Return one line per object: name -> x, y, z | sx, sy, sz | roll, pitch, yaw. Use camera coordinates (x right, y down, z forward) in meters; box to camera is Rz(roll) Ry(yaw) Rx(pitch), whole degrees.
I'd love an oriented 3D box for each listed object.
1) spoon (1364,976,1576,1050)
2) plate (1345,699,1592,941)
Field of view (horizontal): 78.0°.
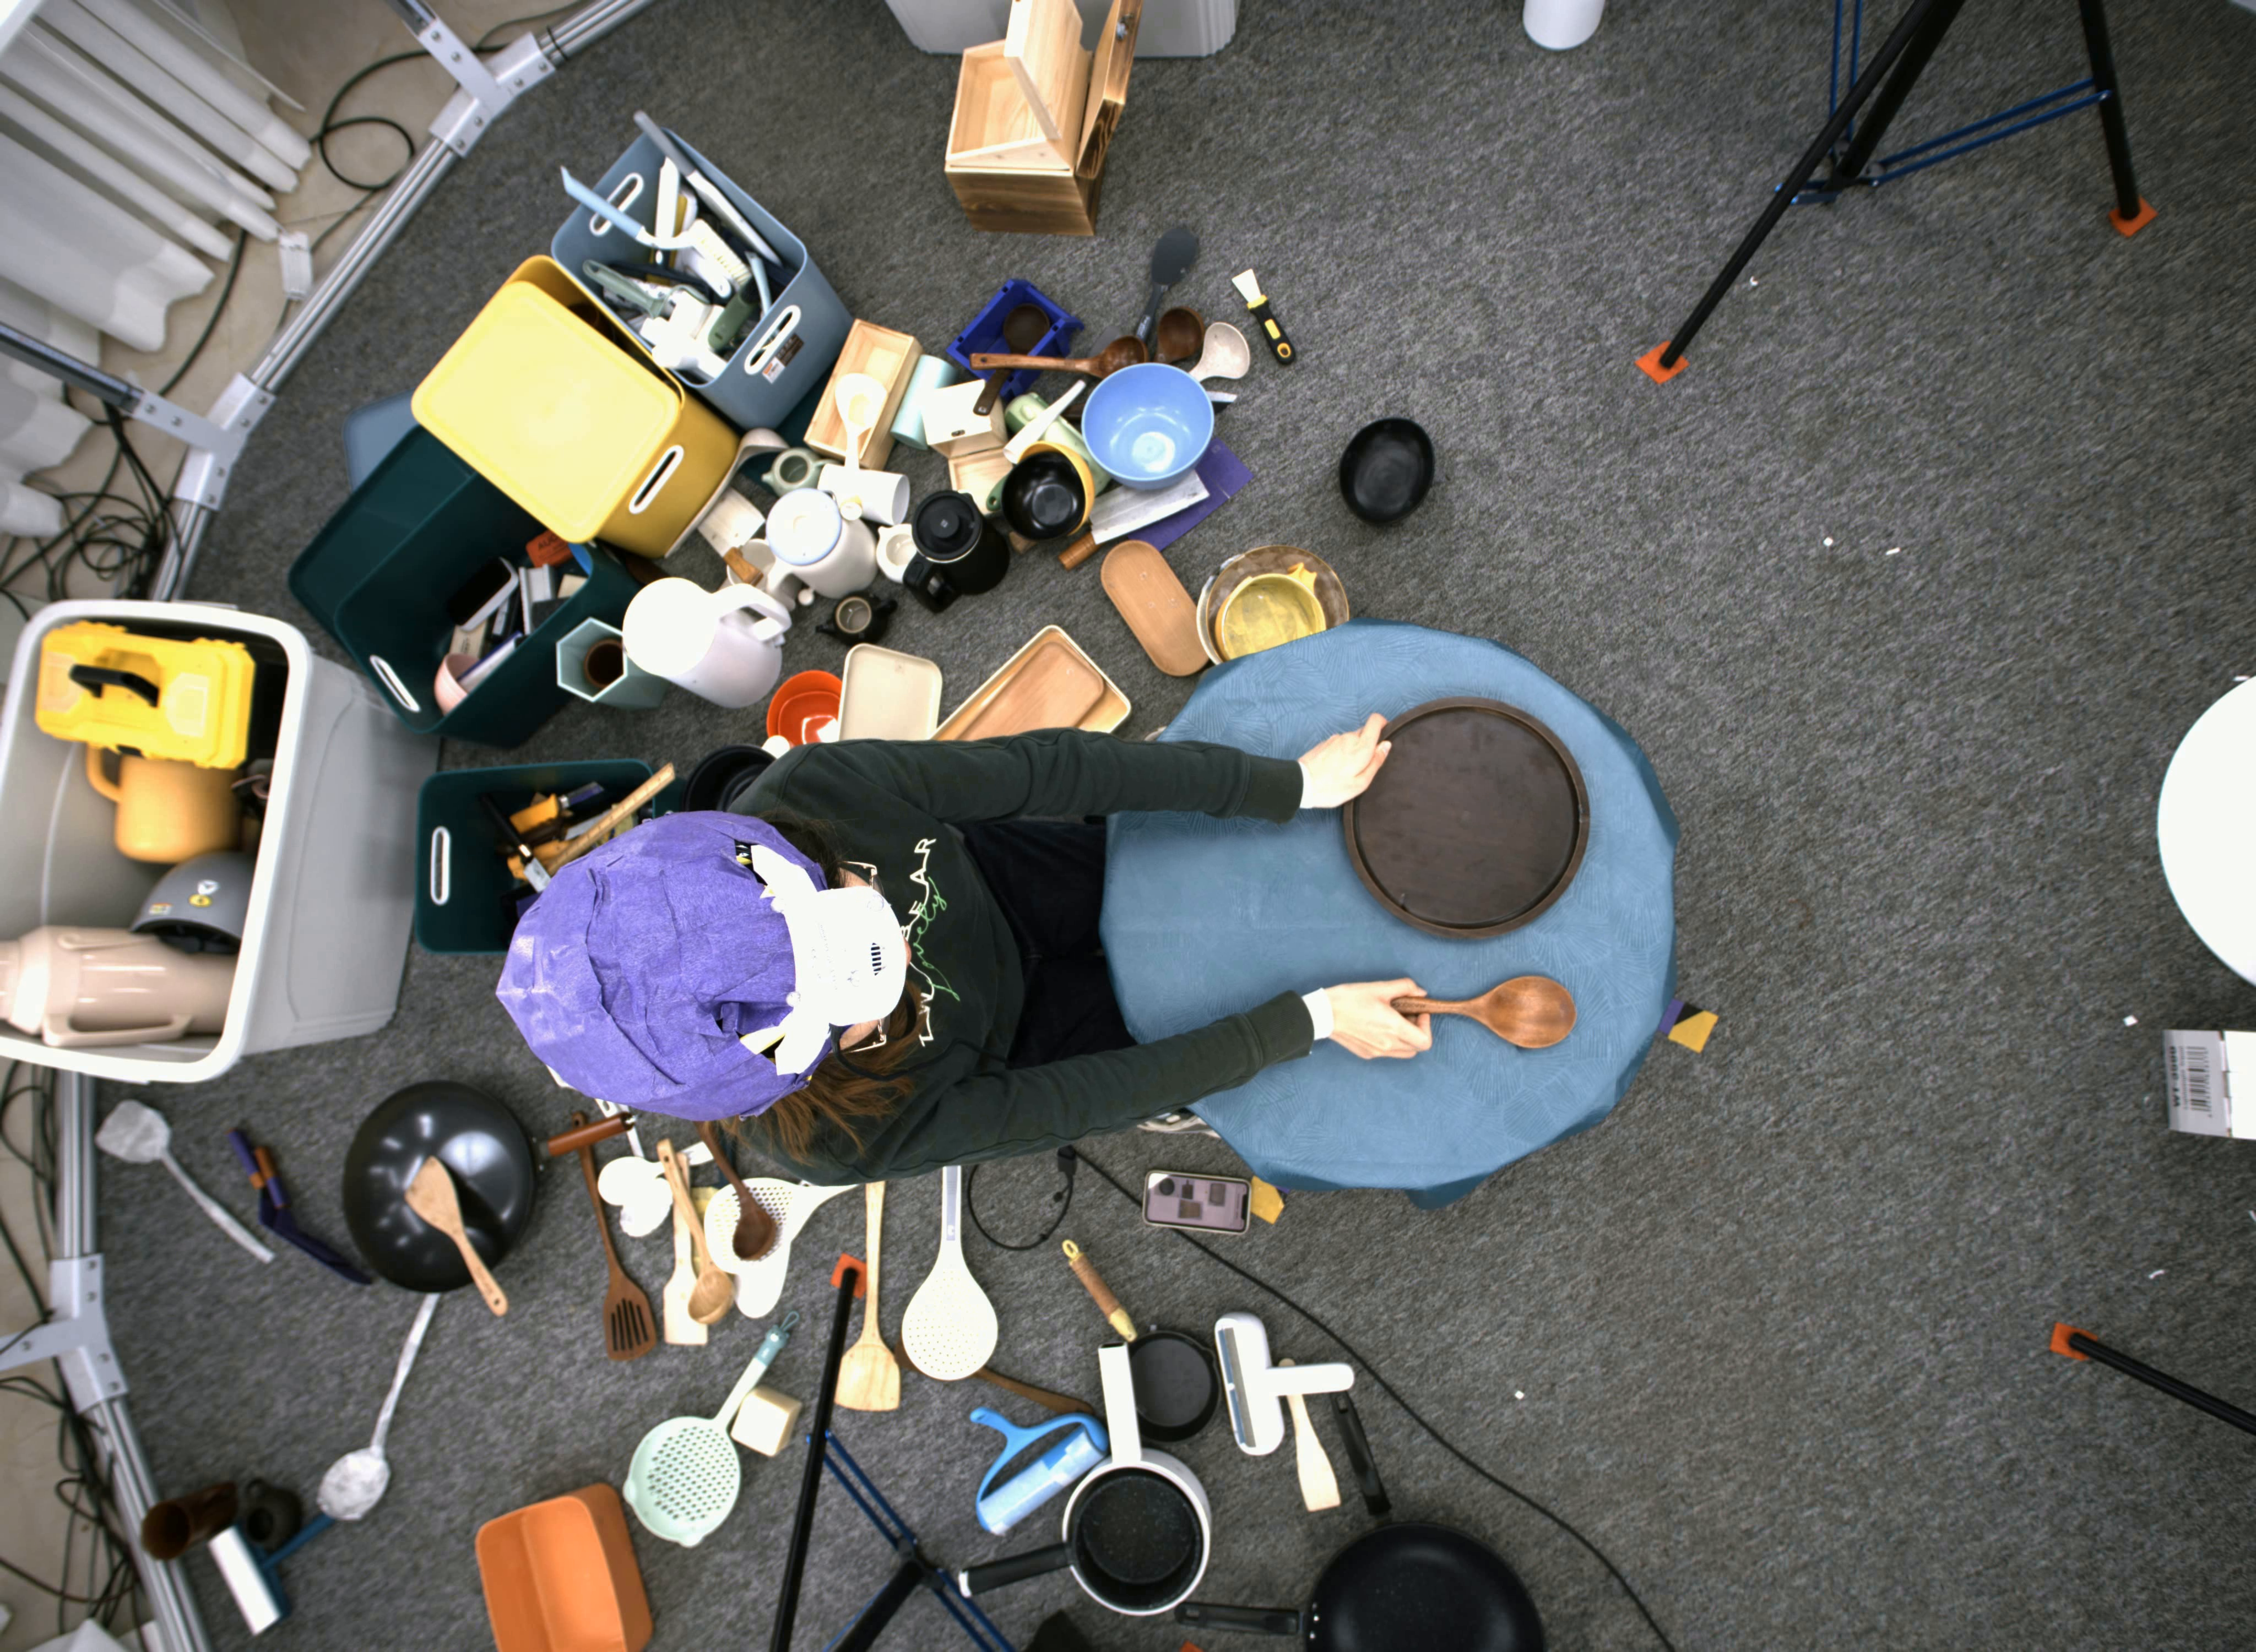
spoon -> 0.353, 0.189, 1.428 | 0.216, 0.017, 0.075 | 1, 89, 7
plate -> 0.353, -0.008, 1.435 | 0.255, 0.029, 0.254 | 0, 88, 7
